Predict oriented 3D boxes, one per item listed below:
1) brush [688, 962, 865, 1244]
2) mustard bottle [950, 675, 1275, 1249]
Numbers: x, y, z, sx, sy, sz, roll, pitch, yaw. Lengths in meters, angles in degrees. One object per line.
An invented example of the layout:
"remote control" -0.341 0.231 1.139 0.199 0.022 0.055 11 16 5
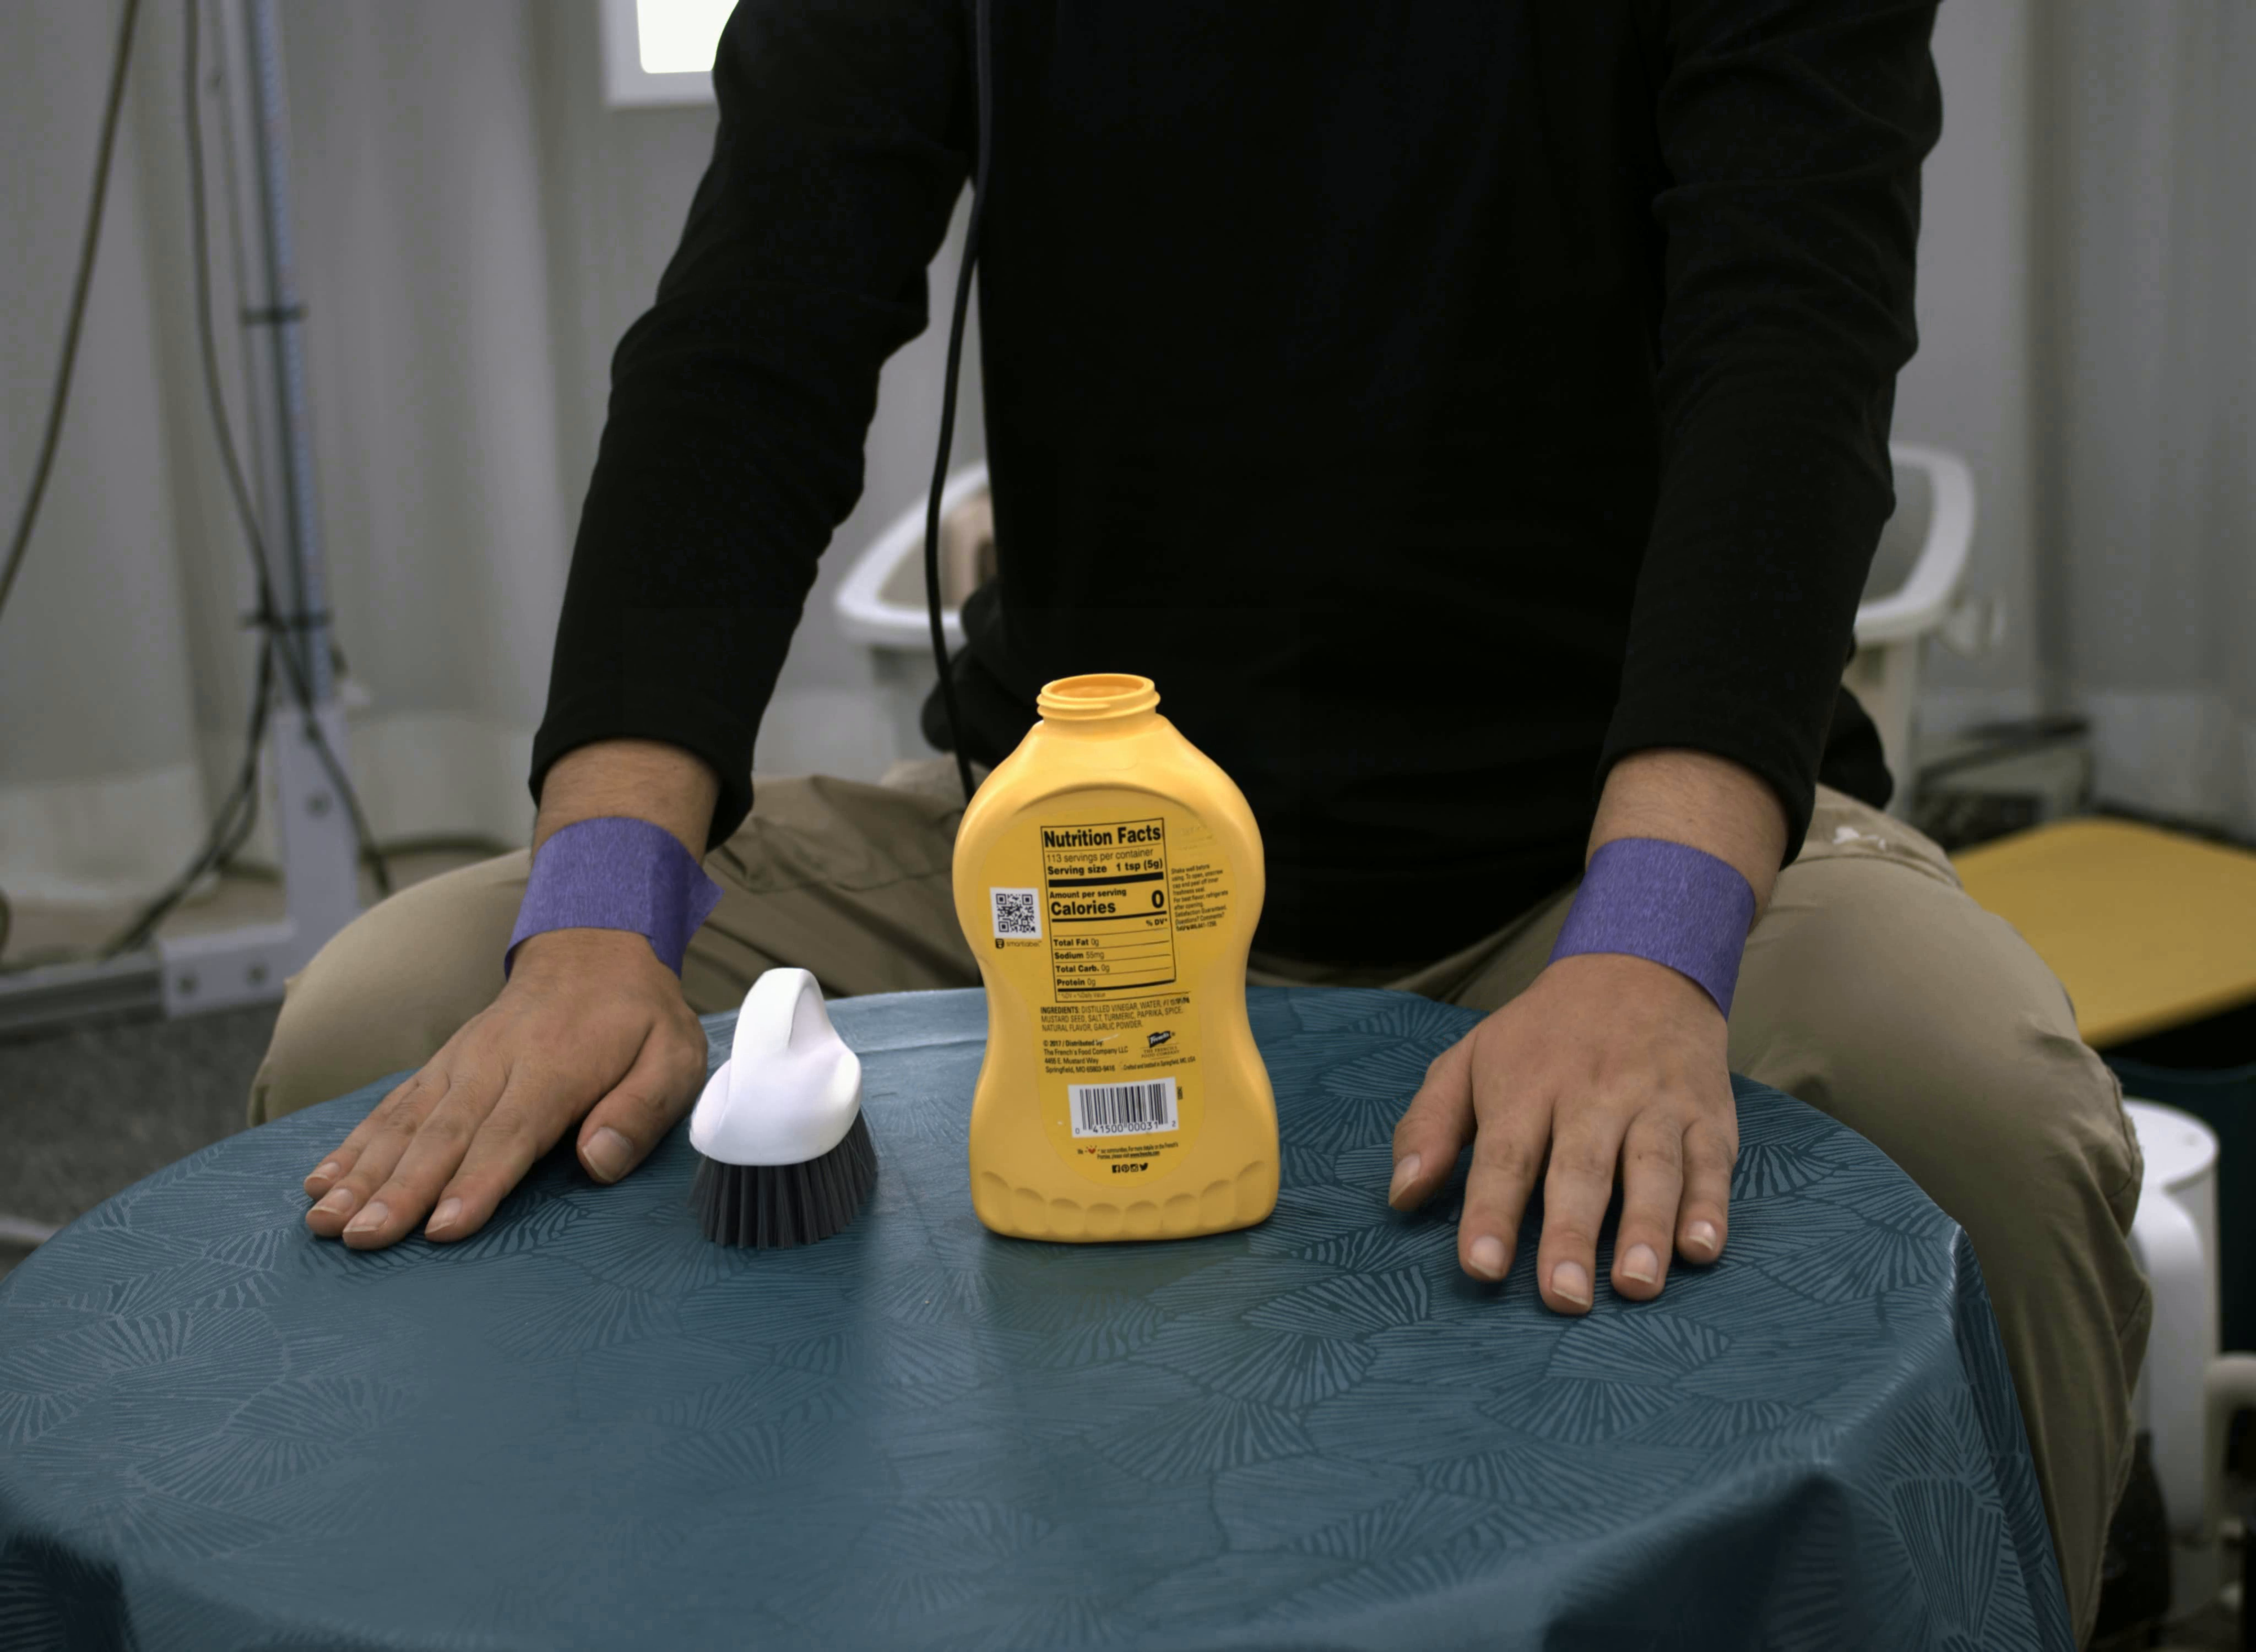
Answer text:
"brush" -0.111 0.082 1.717 0.050 0.072 0.100 0 16 6
"mustard bottle" -0.006 0.041 1.669 0.098 0.171 0.059 -4 10 1
